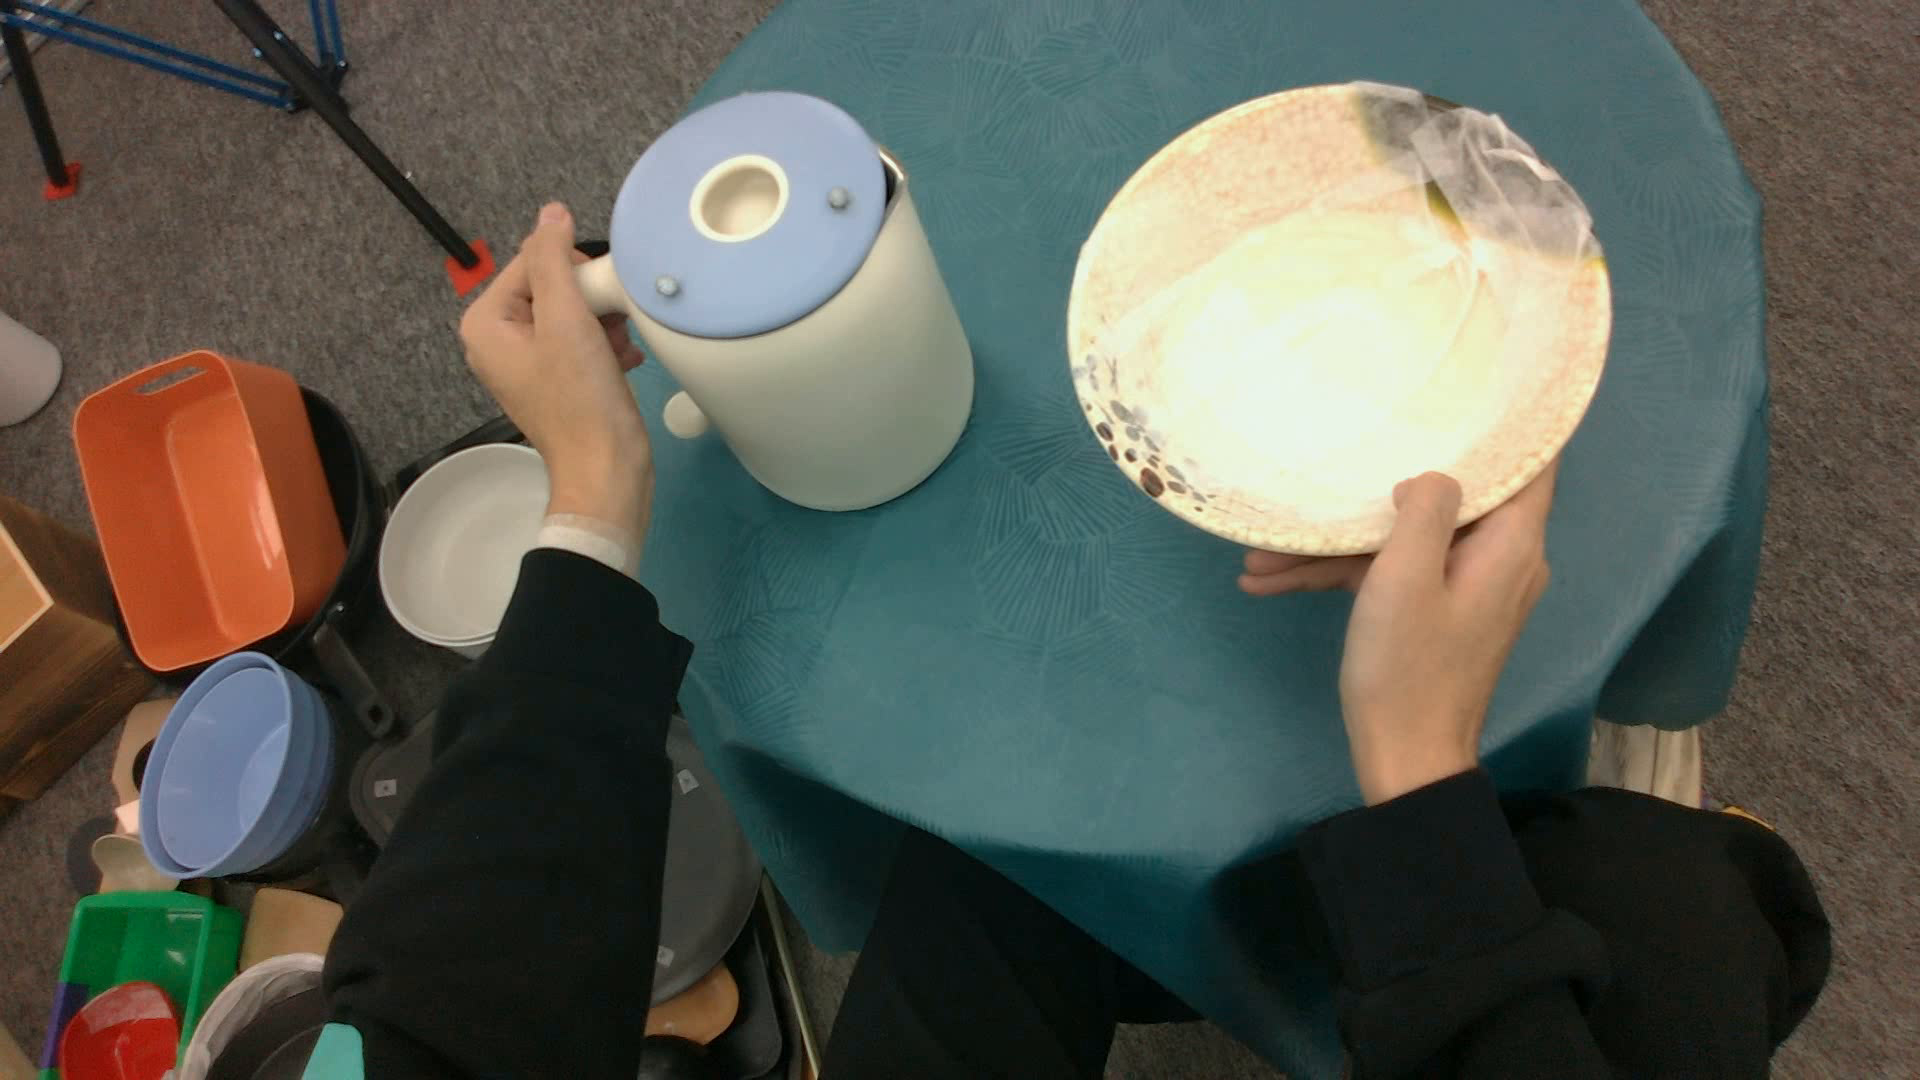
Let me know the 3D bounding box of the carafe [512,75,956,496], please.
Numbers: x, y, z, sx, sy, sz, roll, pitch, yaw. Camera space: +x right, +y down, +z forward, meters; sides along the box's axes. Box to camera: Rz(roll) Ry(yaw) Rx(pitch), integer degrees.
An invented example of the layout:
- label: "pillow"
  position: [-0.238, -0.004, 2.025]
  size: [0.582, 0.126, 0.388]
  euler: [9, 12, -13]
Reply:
- label: "carafe"
  position: [-0.104, -0.105, 0.641]
  size: [0.191, 0.182, 0.132]
  euler: [-15, 64, 8]

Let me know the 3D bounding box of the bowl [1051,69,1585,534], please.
- label: "bowl"
  position: [0.144, -0.088, 0.574]
  size: [0.204, 0.078, 0.204]
  euler: [-4, 70, 12]
